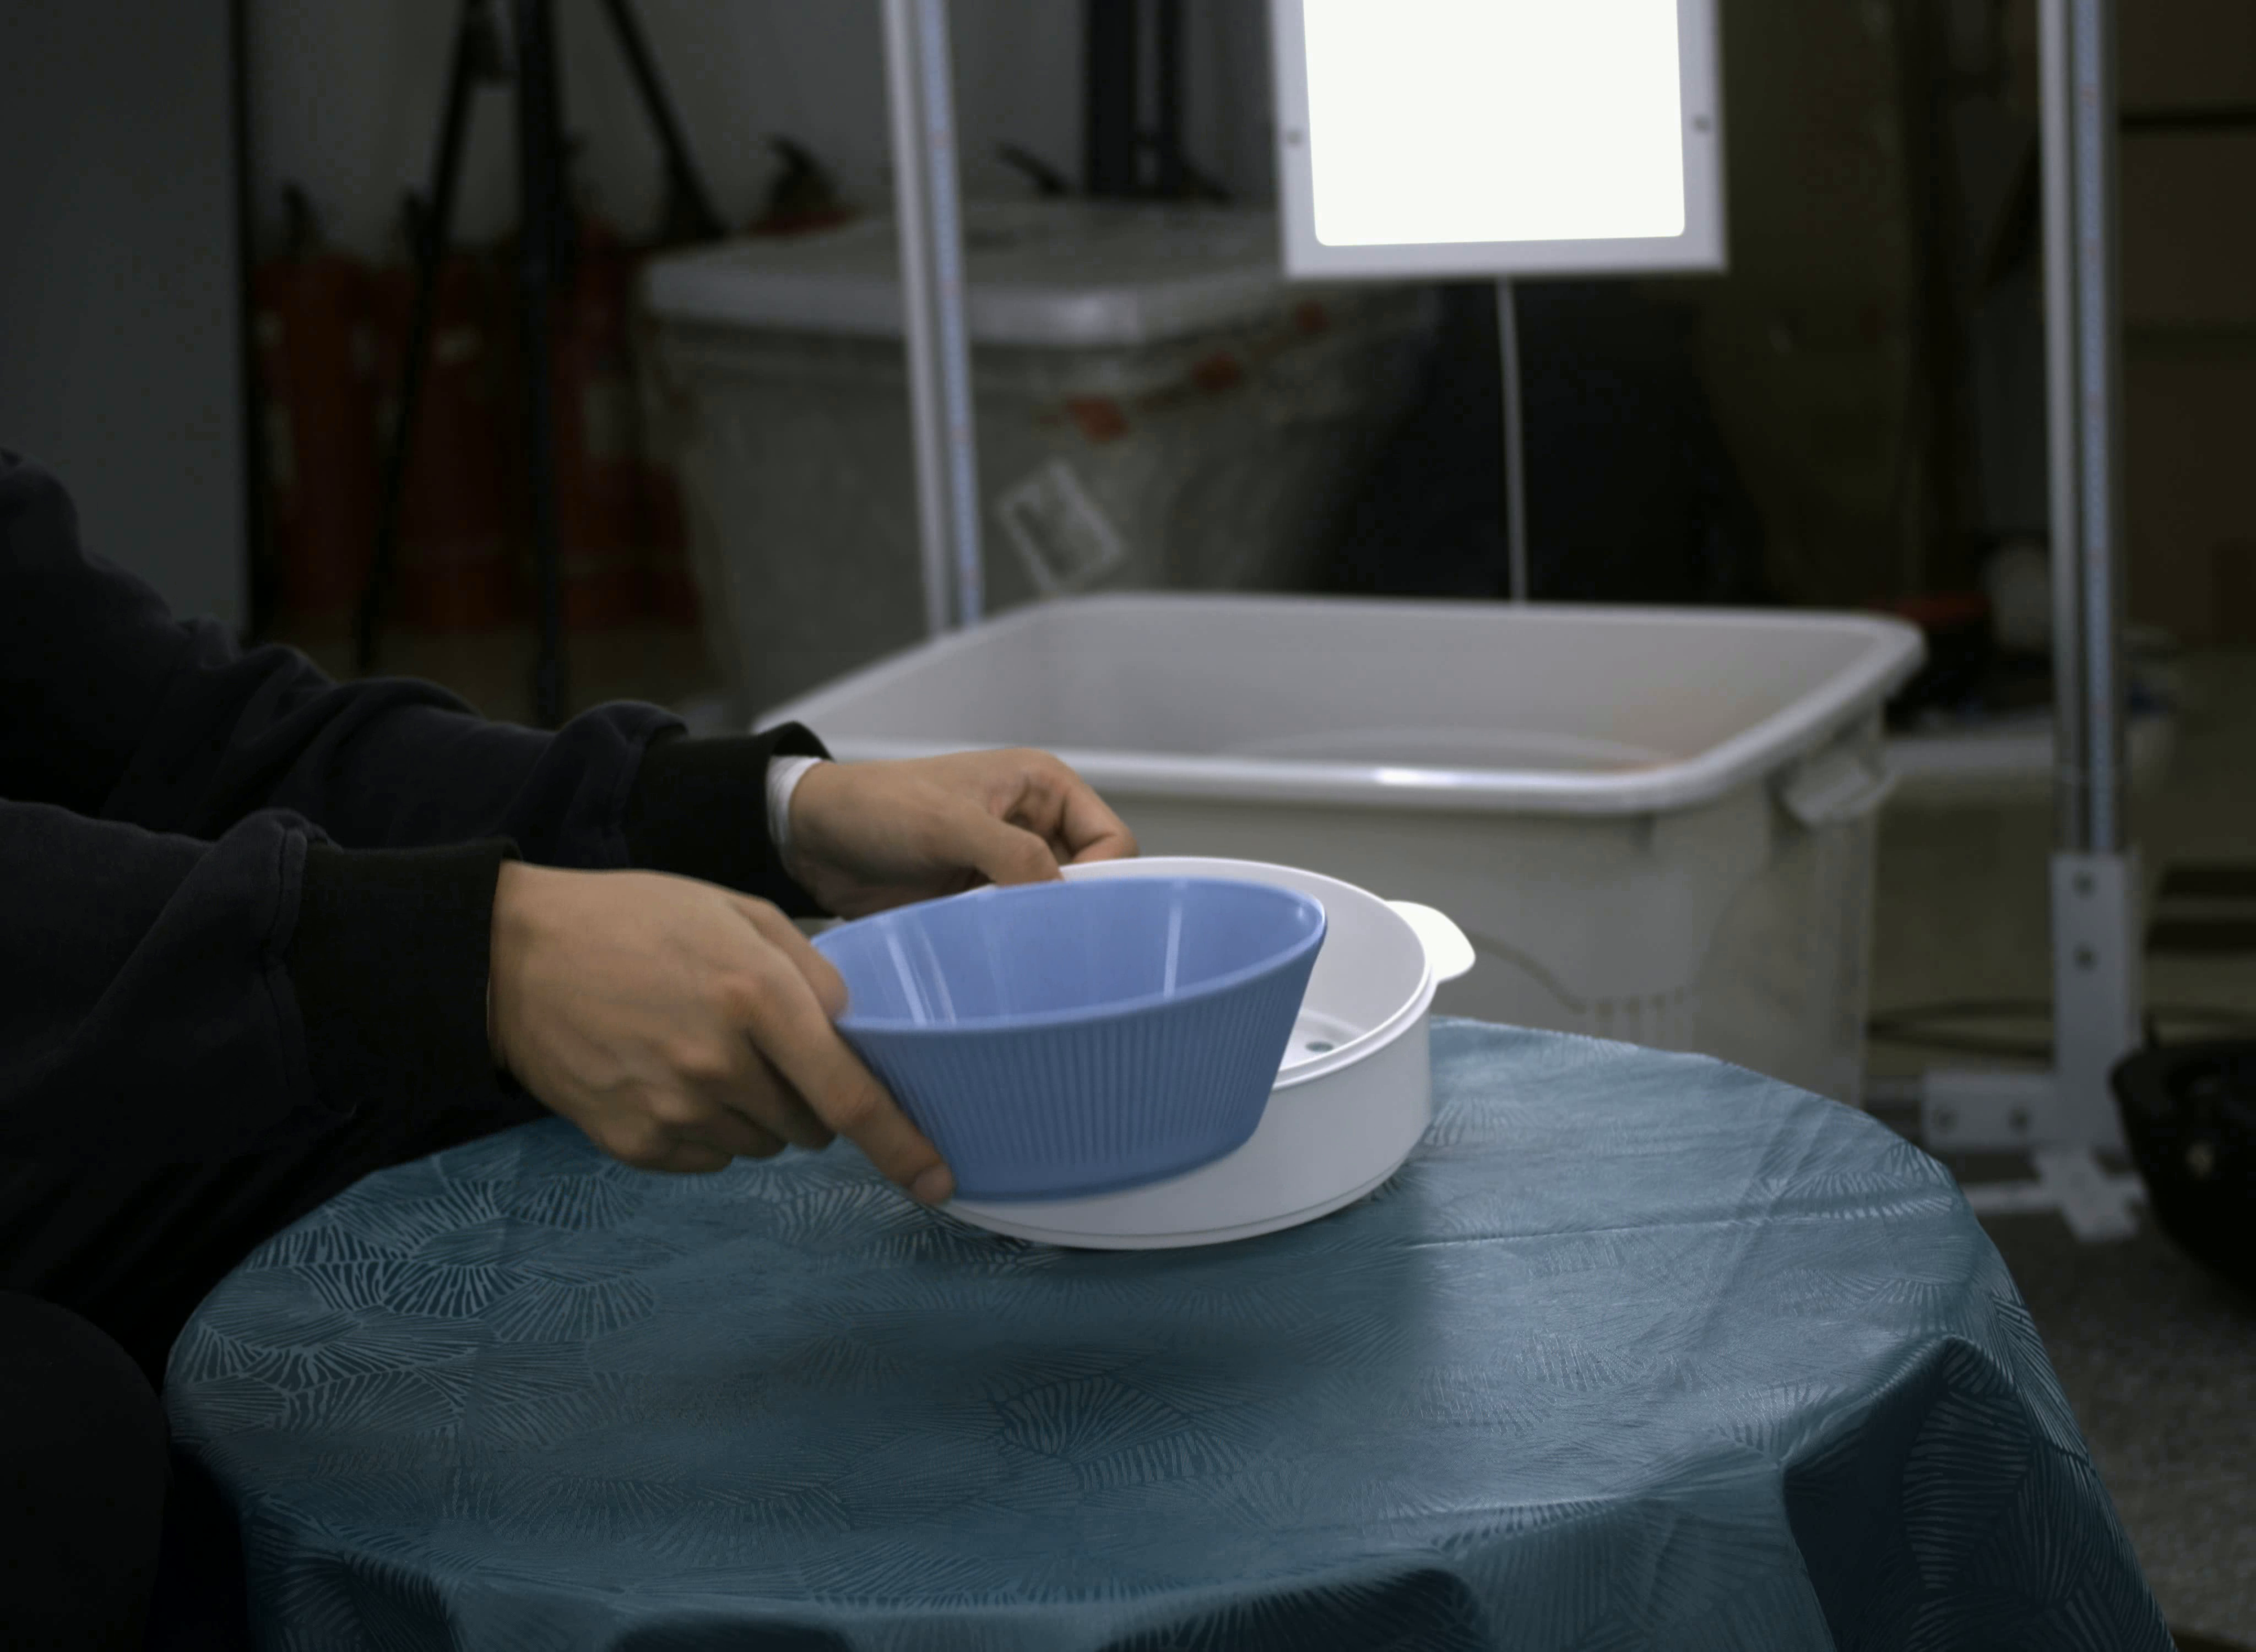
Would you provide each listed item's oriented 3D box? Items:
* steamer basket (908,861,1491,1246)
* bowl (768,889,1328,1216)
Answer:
[{"bbox_3d":[0.013,0.079,1.909,0.228,0.069,0.203,-6,22,-12],"label":"steamer basket"},{"bbox_3d":[-0.021,0.072,1.702,0.175,0.070,0.176,-7,12,0],"label":"bowl"}]
